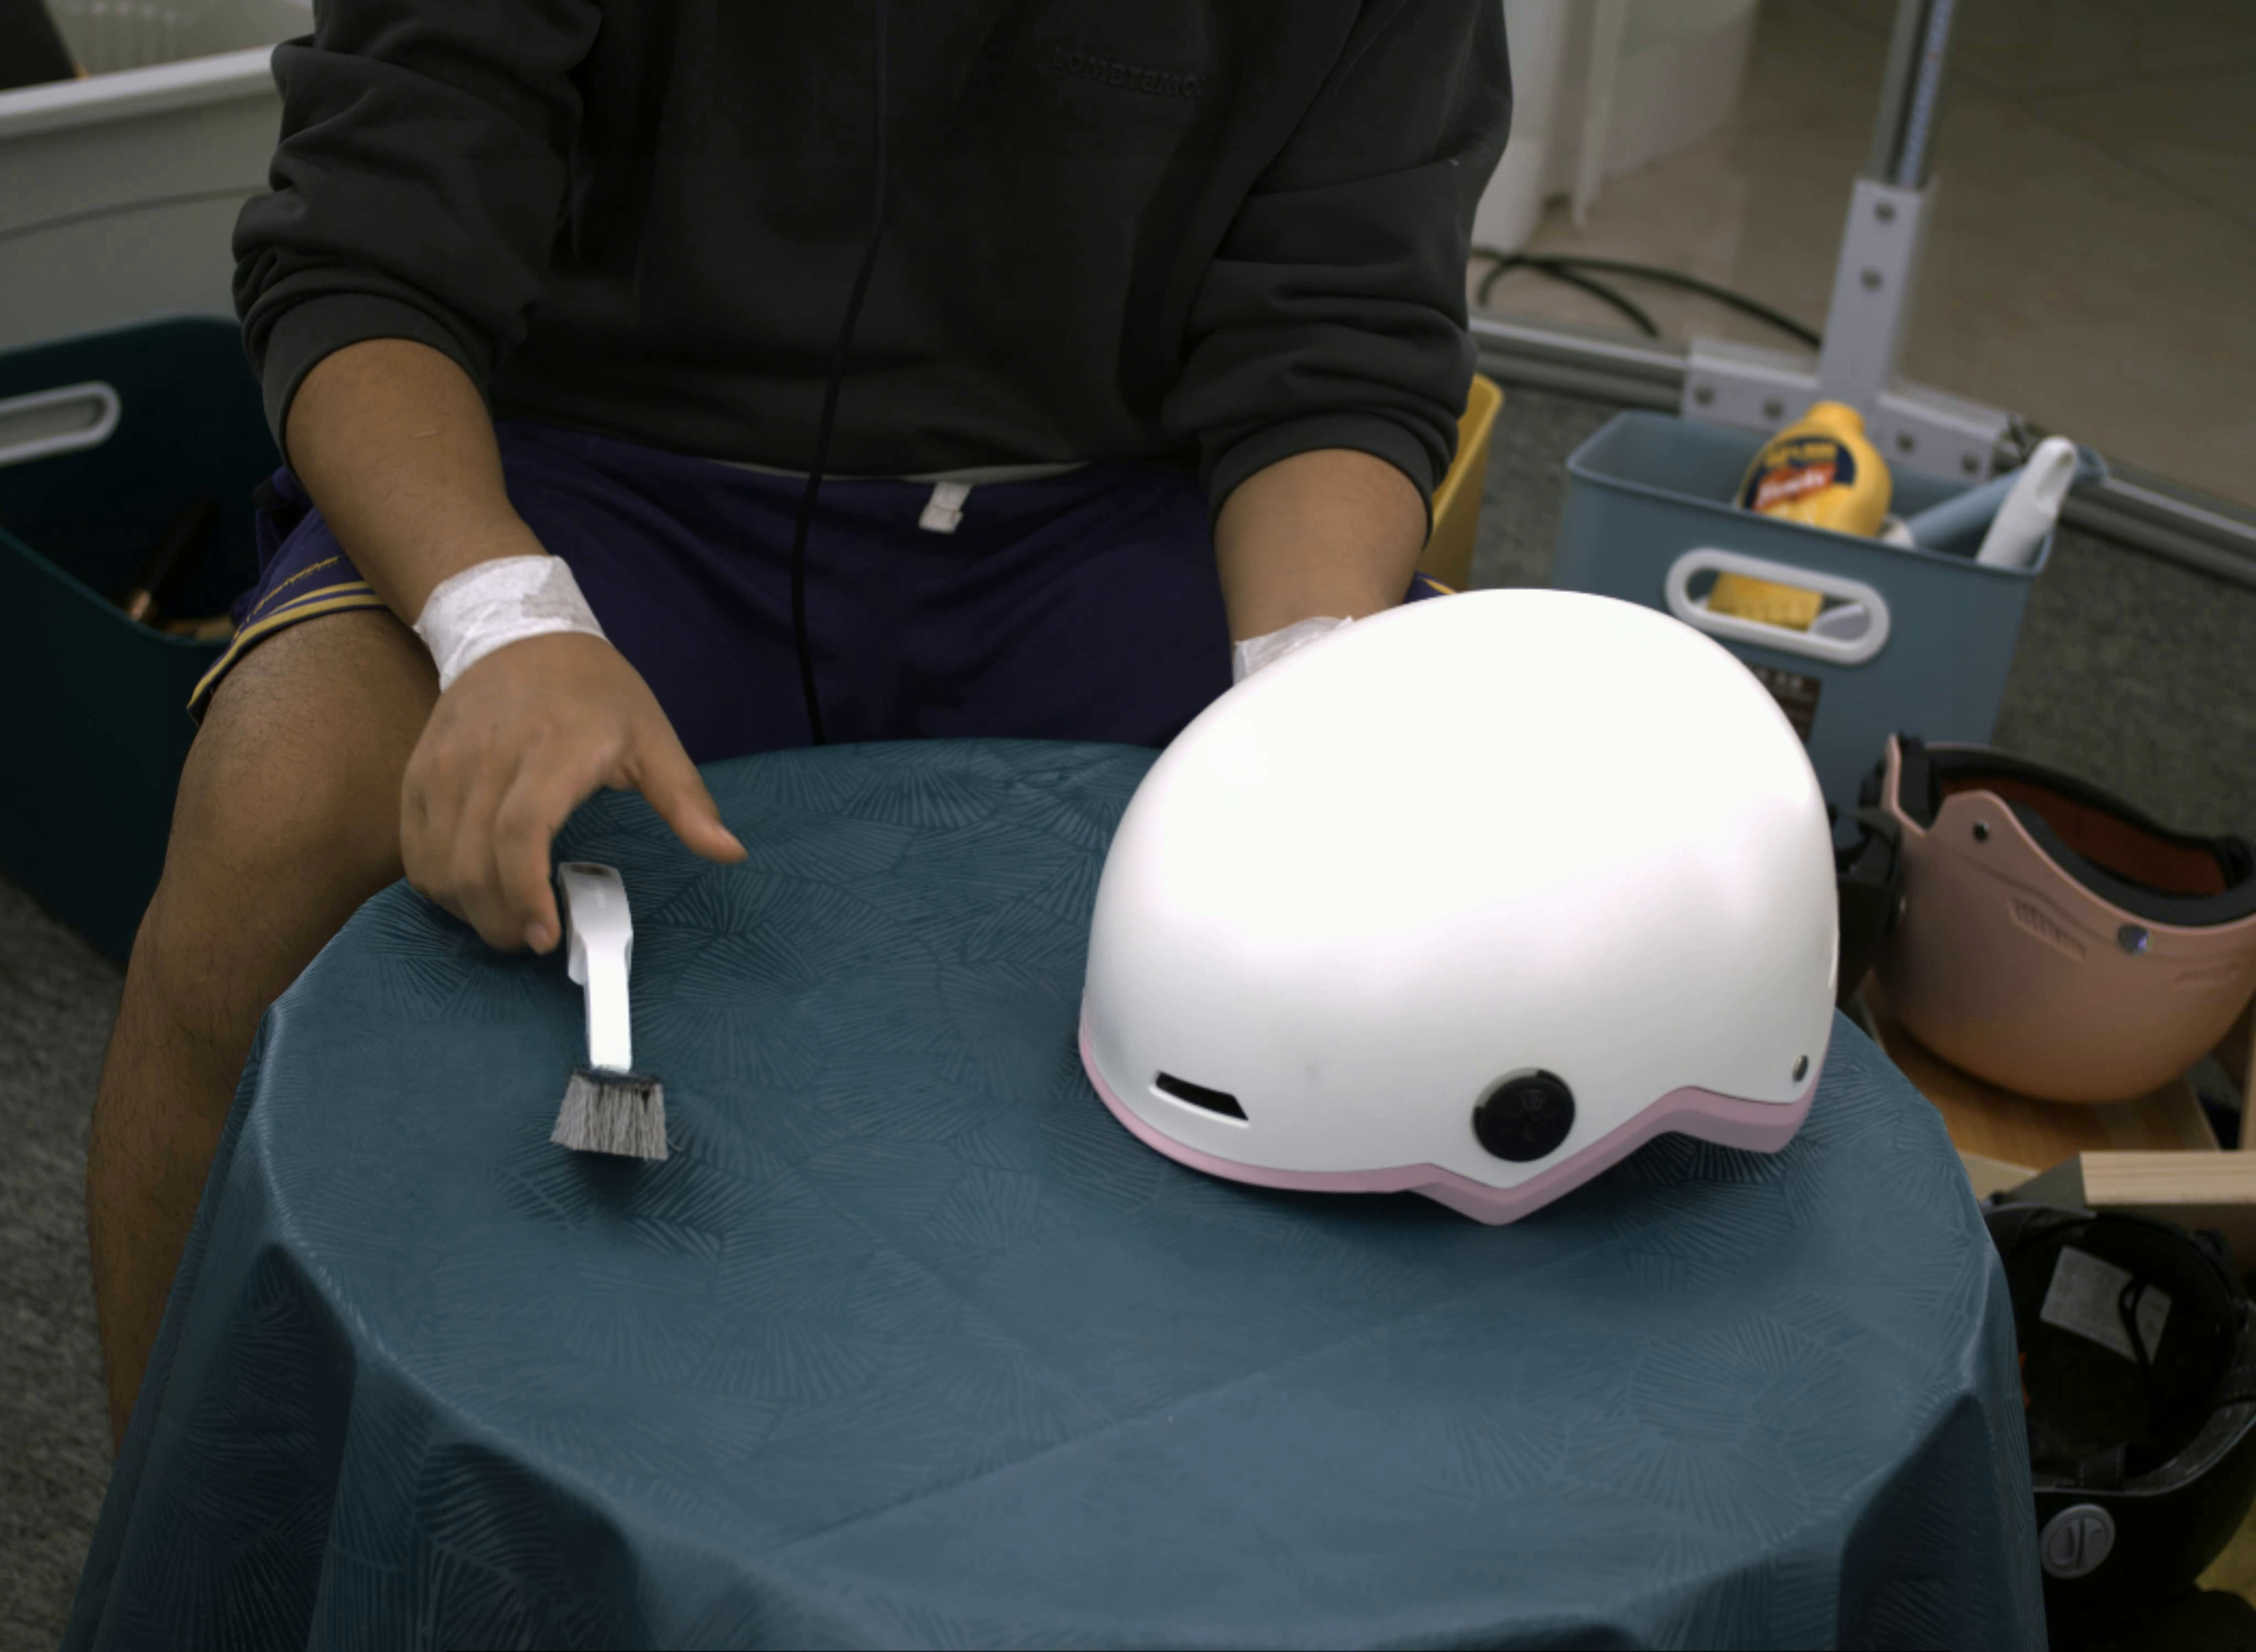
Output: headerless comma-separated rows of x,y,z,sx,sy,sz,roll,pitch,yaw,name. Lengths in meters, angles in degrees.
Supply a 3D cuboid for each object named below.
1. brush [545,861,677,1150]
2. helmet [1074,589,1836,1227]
-0.185,0.065,1.848,0.034,0.050,0.245,6,14,-12,brush
0.120,0.011,1.853,0.267,0.166,0.239,-6,33,-18,helmet
